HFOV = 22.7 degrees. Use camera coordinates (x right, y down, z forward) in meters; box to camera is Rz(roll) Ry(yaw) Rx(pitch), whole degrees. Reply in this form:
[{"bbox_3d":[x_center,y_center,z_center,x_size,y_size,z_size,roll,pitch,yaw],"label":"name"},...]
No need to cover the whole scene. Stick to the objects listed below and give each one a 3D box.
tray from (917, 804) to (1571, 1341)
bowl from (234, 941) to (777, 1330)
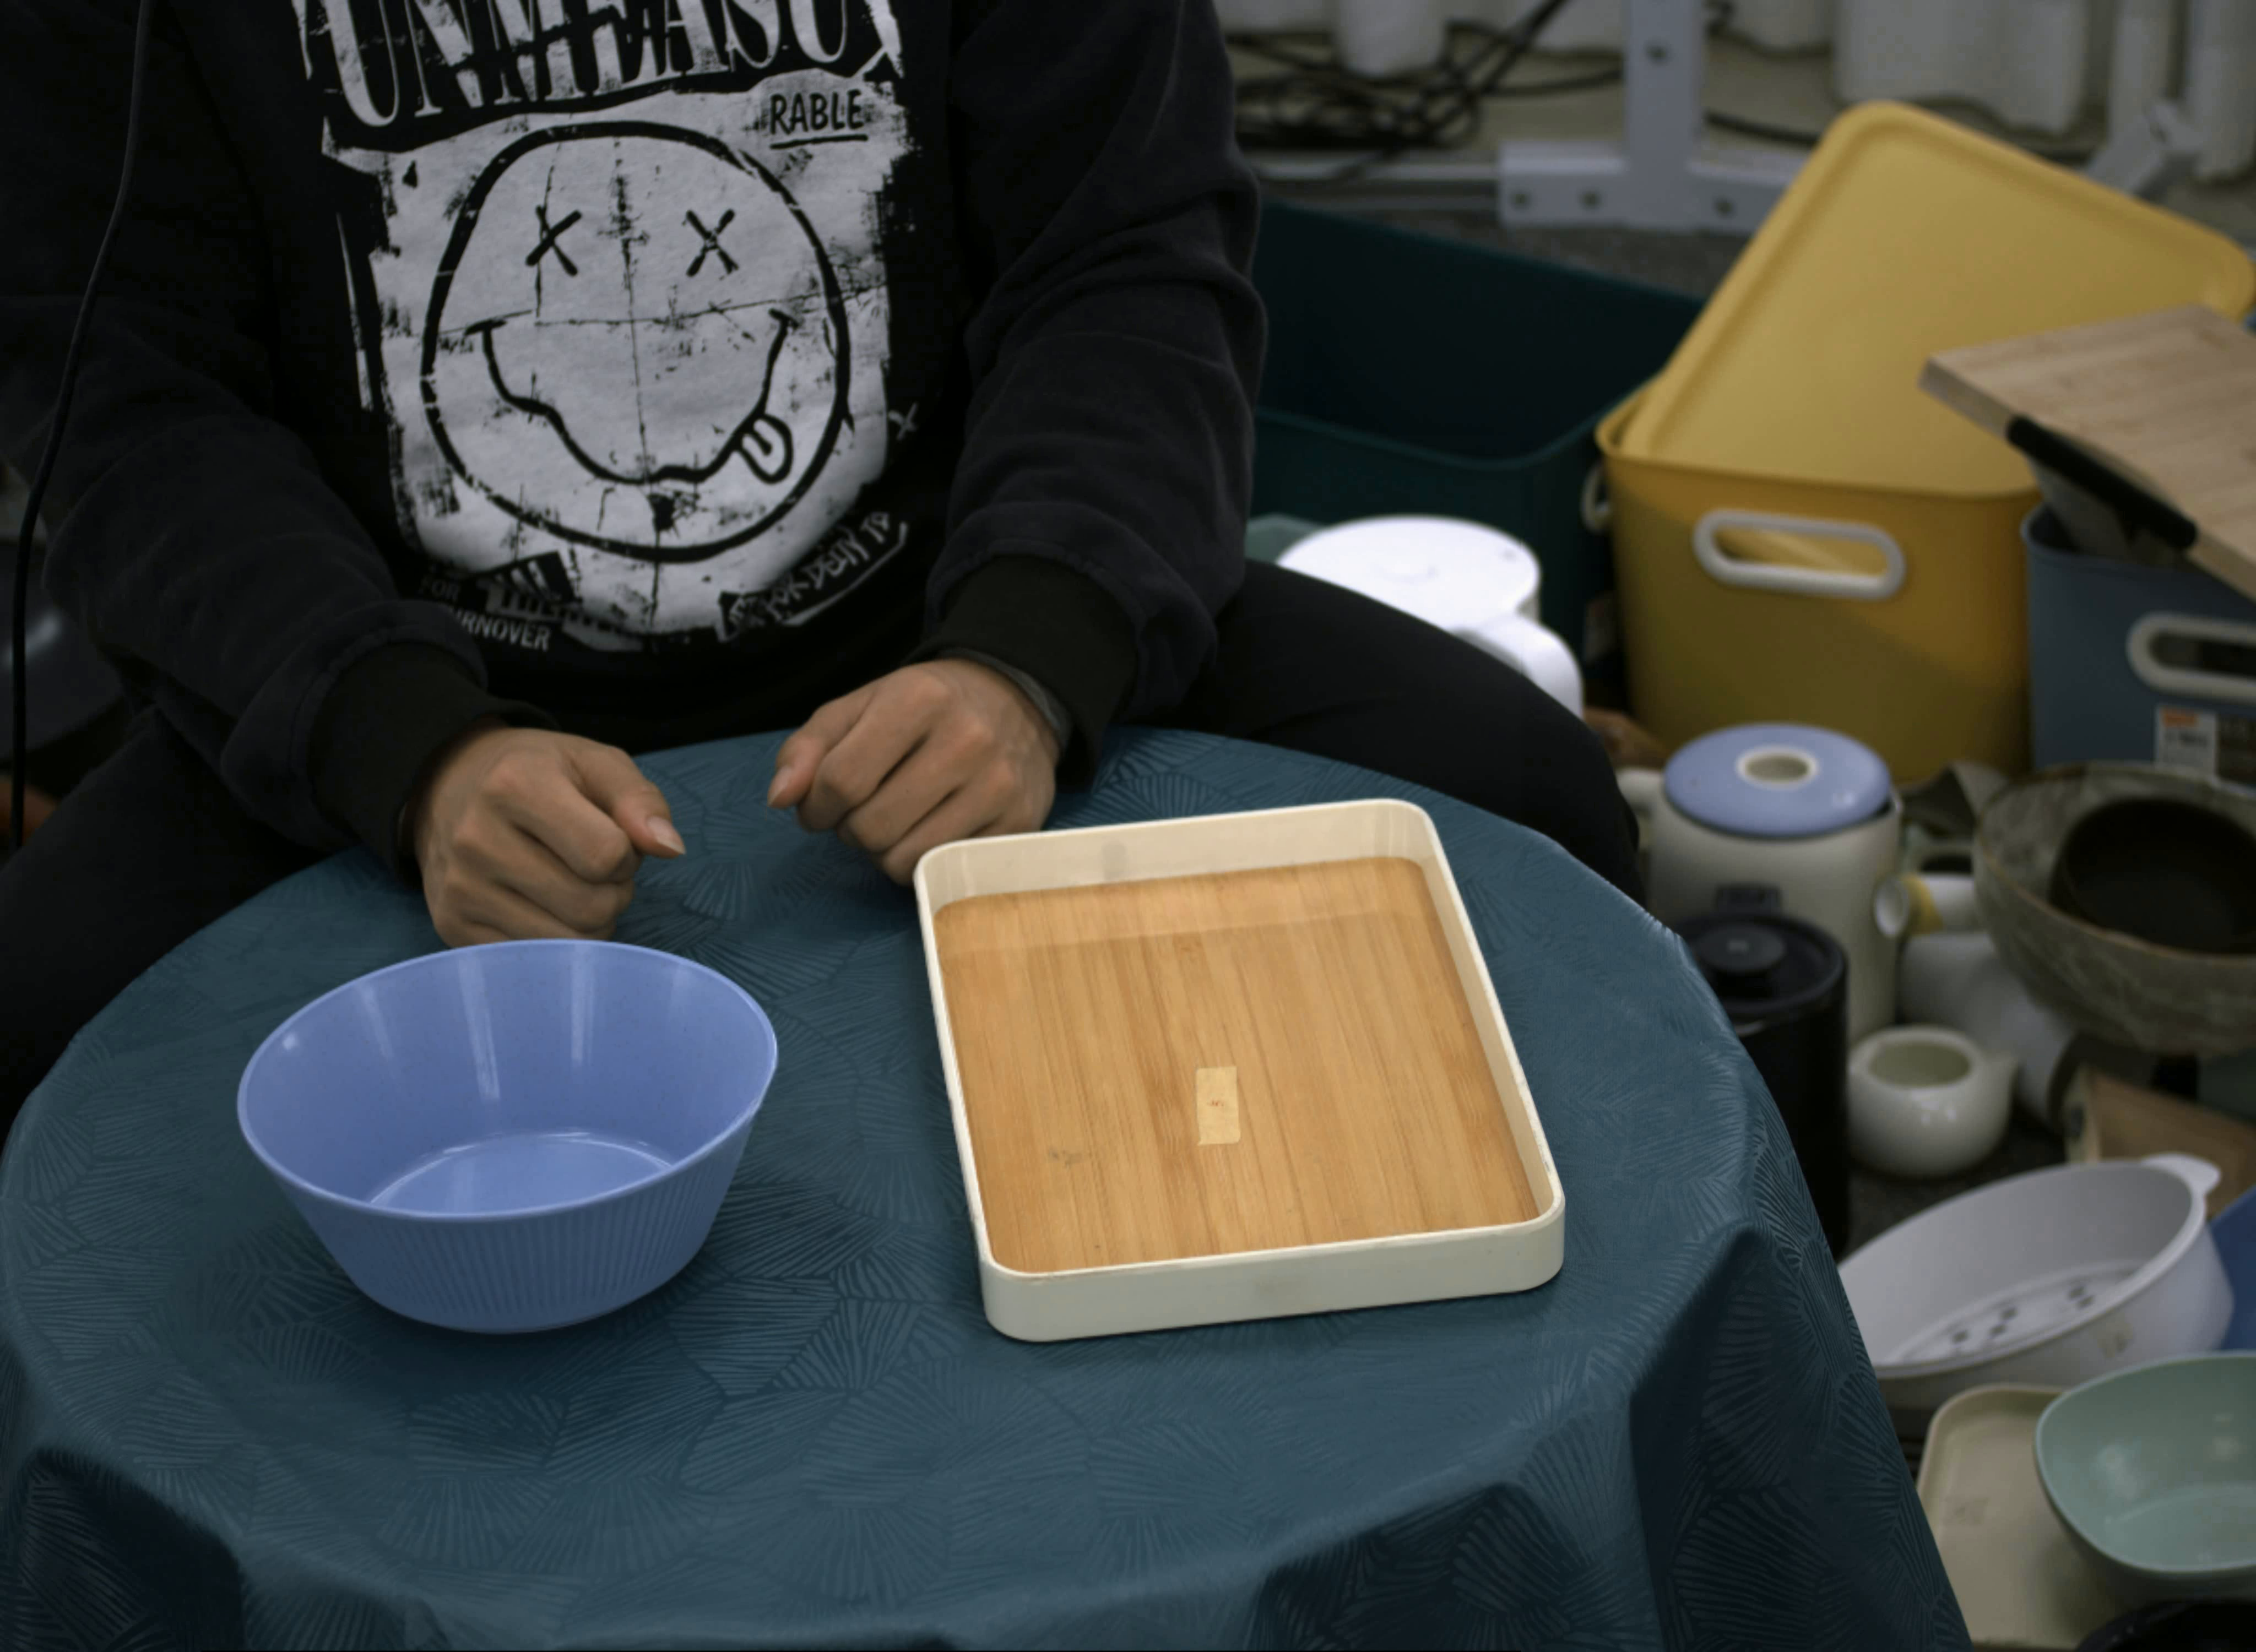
[{"bbox_3d":[0.033,0.079,1.913,0.191,0.027,0.304,-5,27,-5],"label":"tray"},{"bbox_3d":[-0.200,0.107,1.832,0.175,0.069,0.179,-1,27,1],"label":"bowl"}]
